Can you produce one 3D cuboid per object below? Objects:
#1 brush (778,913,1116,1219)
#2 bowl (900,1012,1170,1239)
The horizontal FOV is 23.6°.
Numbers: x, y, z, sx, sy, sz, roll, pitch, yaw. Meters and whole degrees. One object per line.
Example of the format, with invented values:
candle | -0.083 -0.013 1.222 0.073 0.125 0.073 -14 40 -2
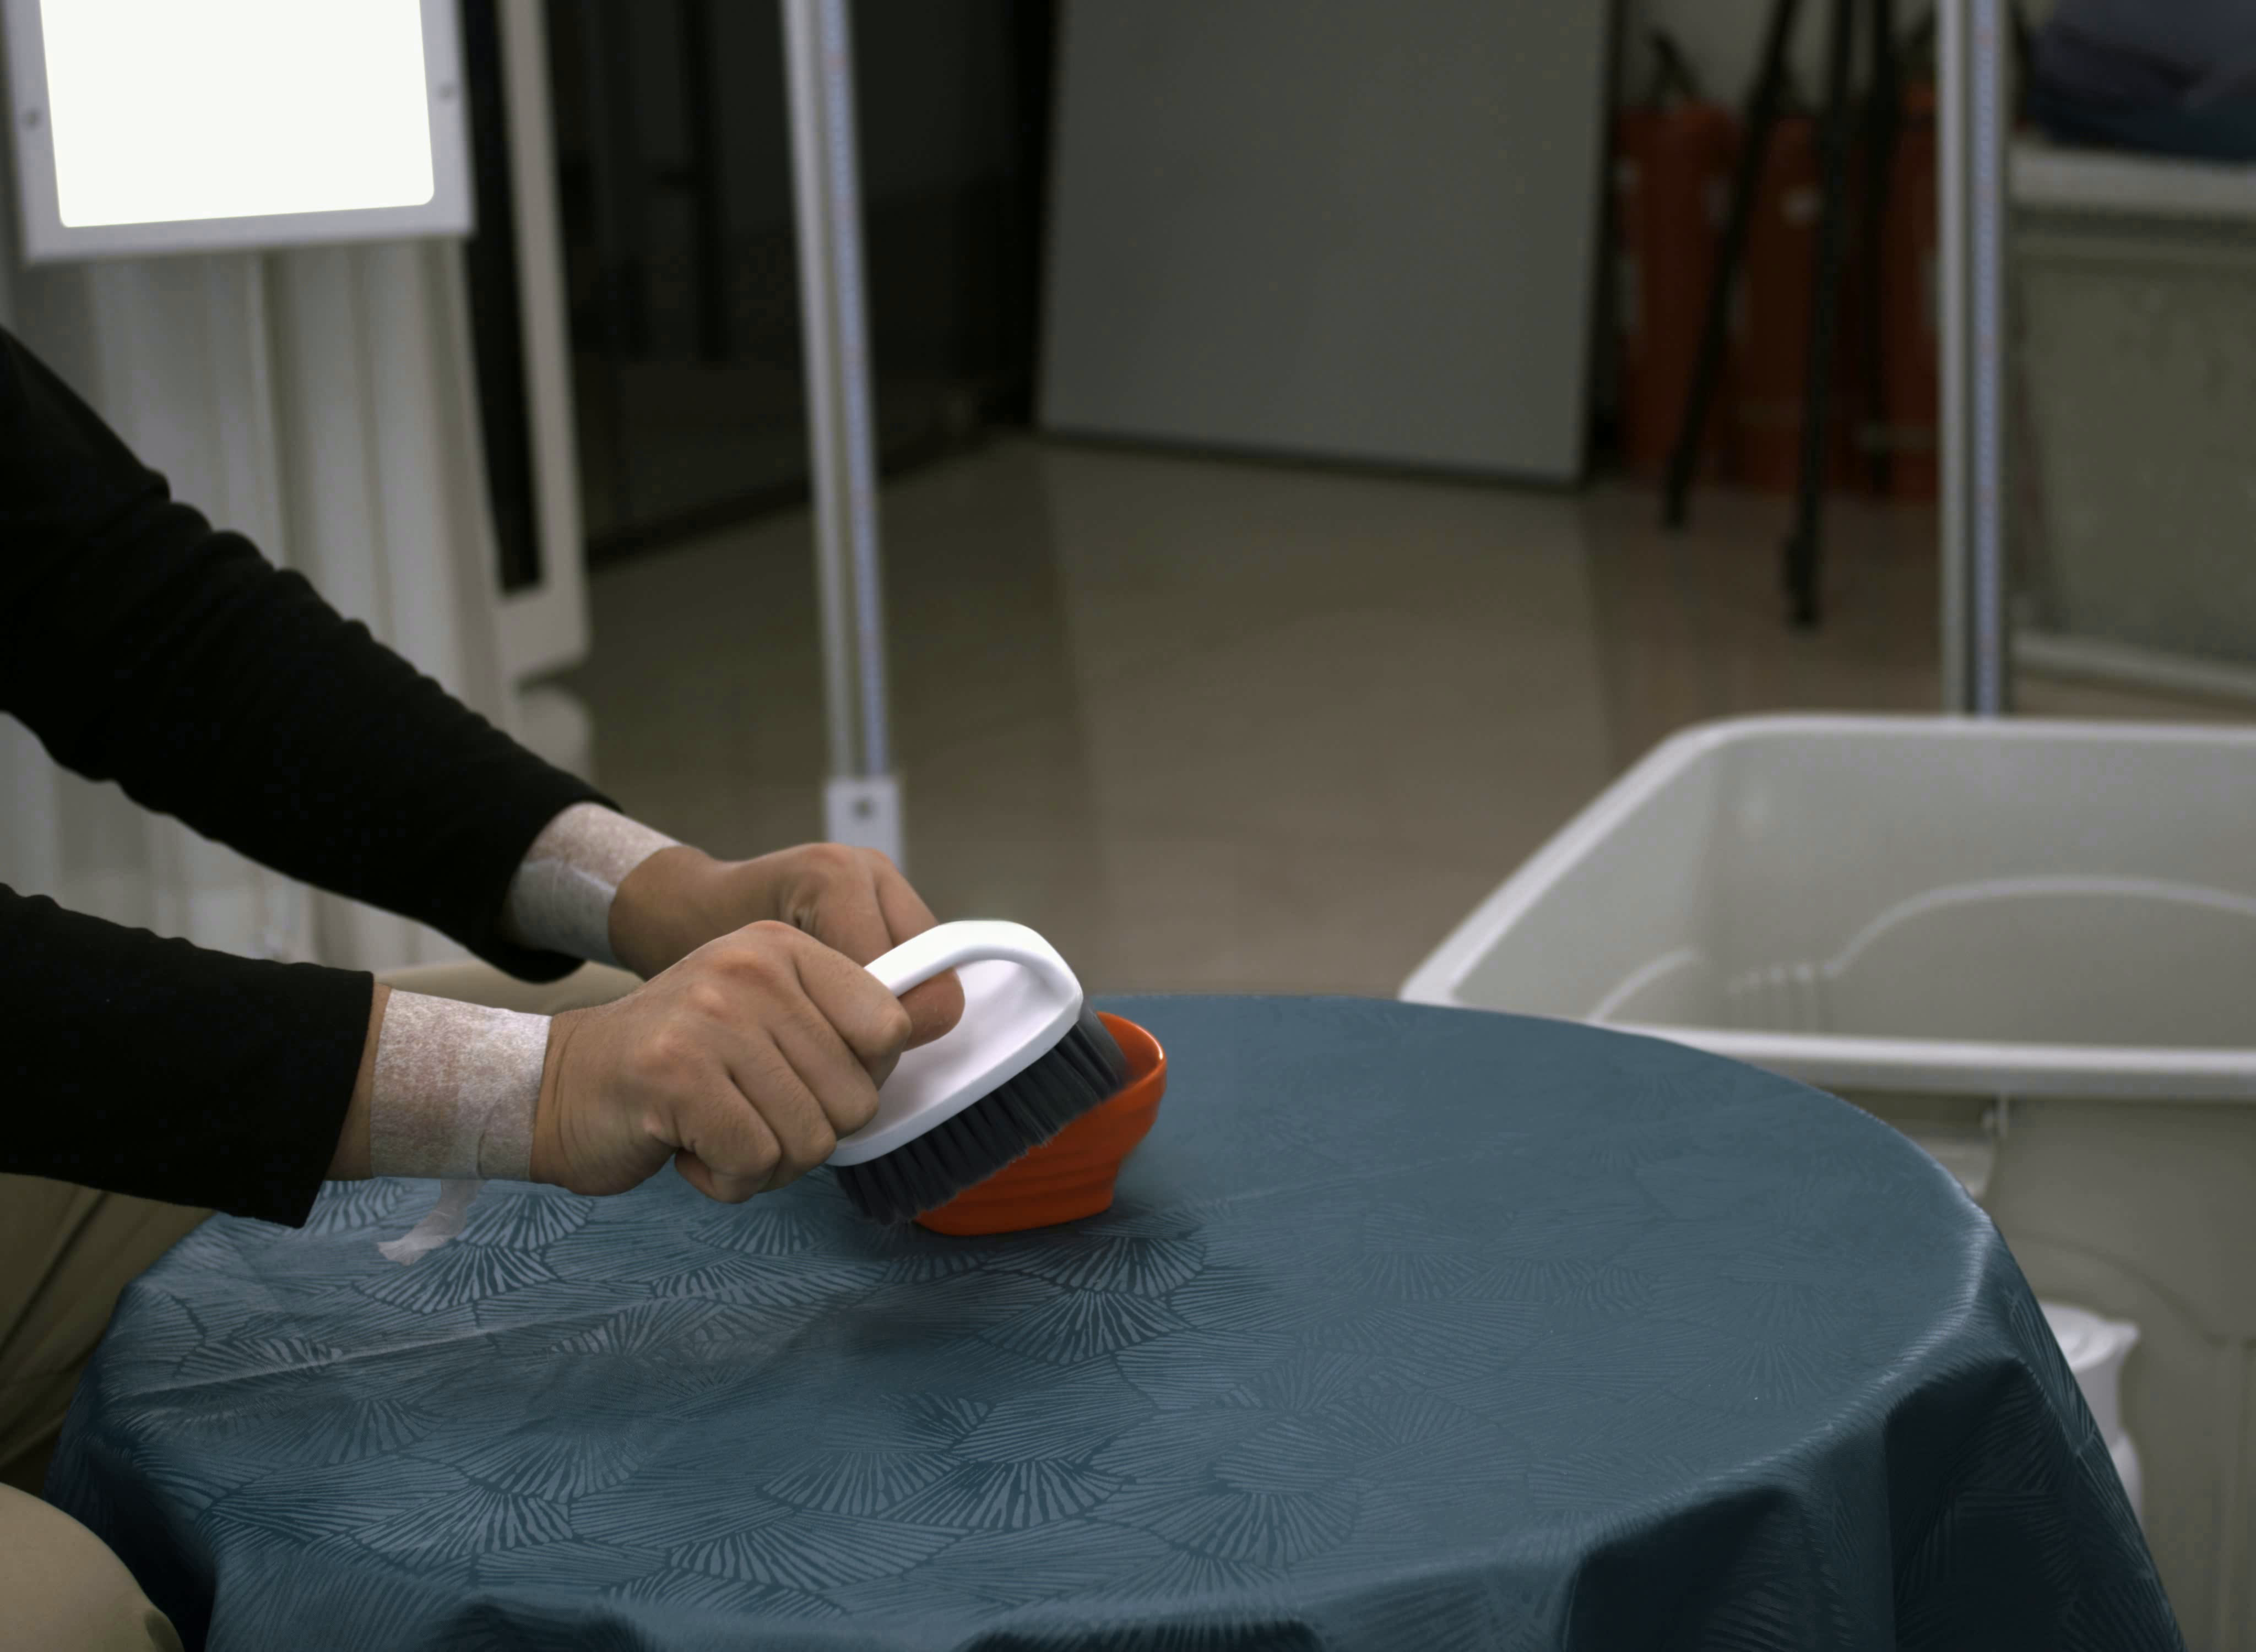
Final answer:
brush | -0.061 0.066 1.644 0.098 0.072 0.051 -31 38 1
bowl | -0.042 0.099 1.763 0.117 0.052 0.119 -3 14 0
